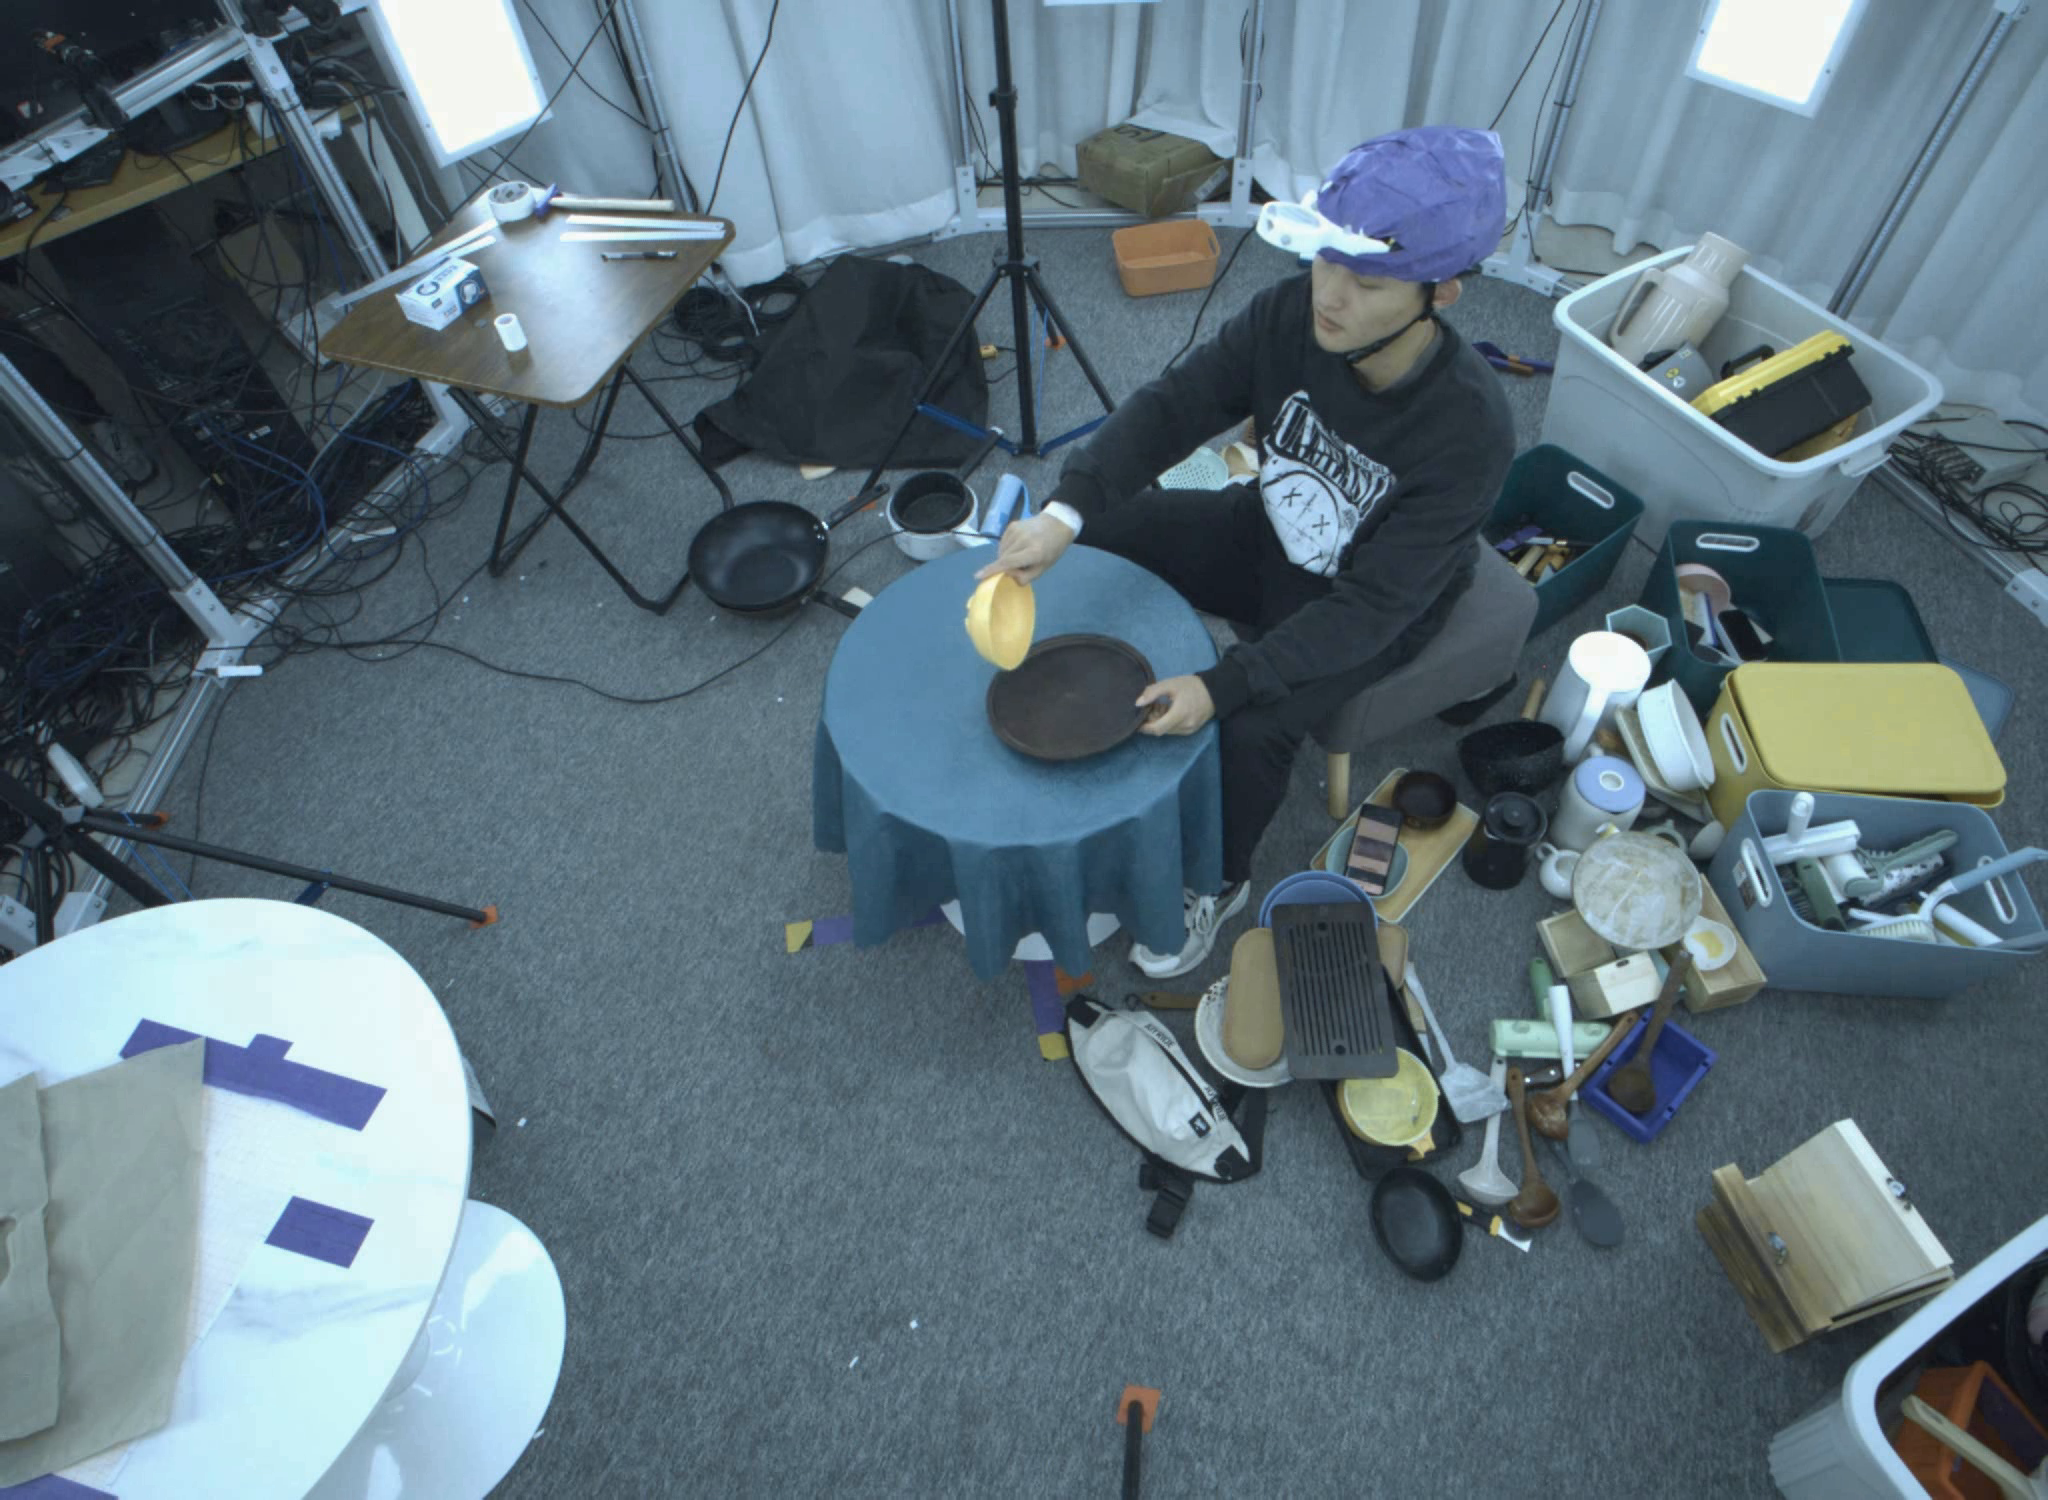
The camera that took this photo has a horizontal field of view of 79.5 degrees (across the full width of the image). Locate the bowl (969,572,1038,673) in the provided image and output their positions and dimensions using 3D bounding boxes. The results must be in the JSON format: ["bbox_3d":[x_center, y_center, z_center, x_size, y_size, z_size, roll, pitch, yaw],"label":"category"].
[{"bbox_3d":[-0.038,-0.184,1.742,0.059,0.148,0.145,10,55,25],"label":"bowl"}]

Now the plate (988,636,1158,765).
[{"bbox_3d":[0.071,-0.074,1.814,0.254,0.029,0.252,-5,47,7],"label":"plate"}]
